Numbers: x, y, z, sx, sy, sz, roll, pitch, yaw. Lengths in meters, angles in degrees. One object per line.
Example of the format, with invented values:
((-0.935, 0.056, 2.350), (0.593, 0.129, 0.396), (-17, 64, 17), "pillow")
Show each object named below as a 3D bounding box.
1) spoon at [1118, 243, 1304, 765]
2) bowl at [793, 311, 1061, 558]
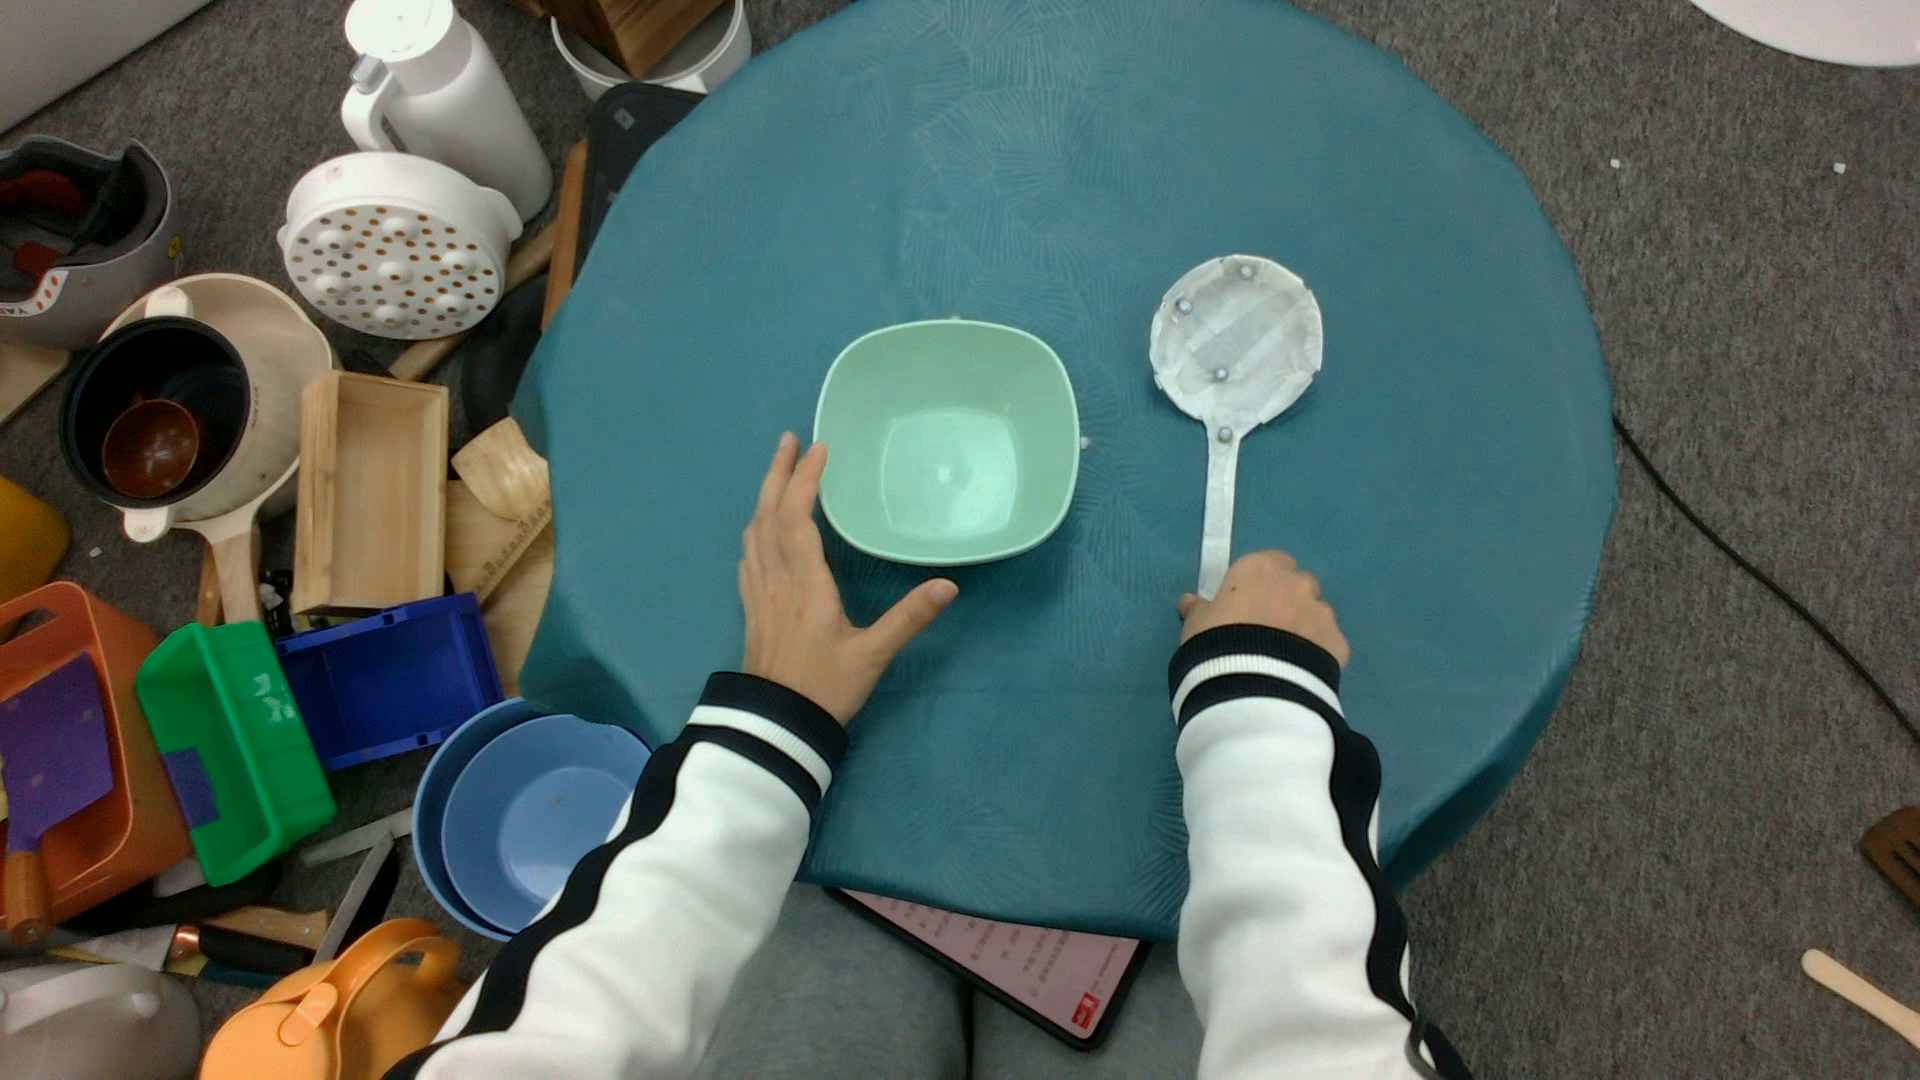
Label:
((0.119, -0.023, 0.725), (0.100, 0.059, 0.278), (8, 70, 9), "spoon")
((-0.017, -0.048, 0.738), (0.151, 0.058, 0.152), (0, 69, 0), "bowl")
